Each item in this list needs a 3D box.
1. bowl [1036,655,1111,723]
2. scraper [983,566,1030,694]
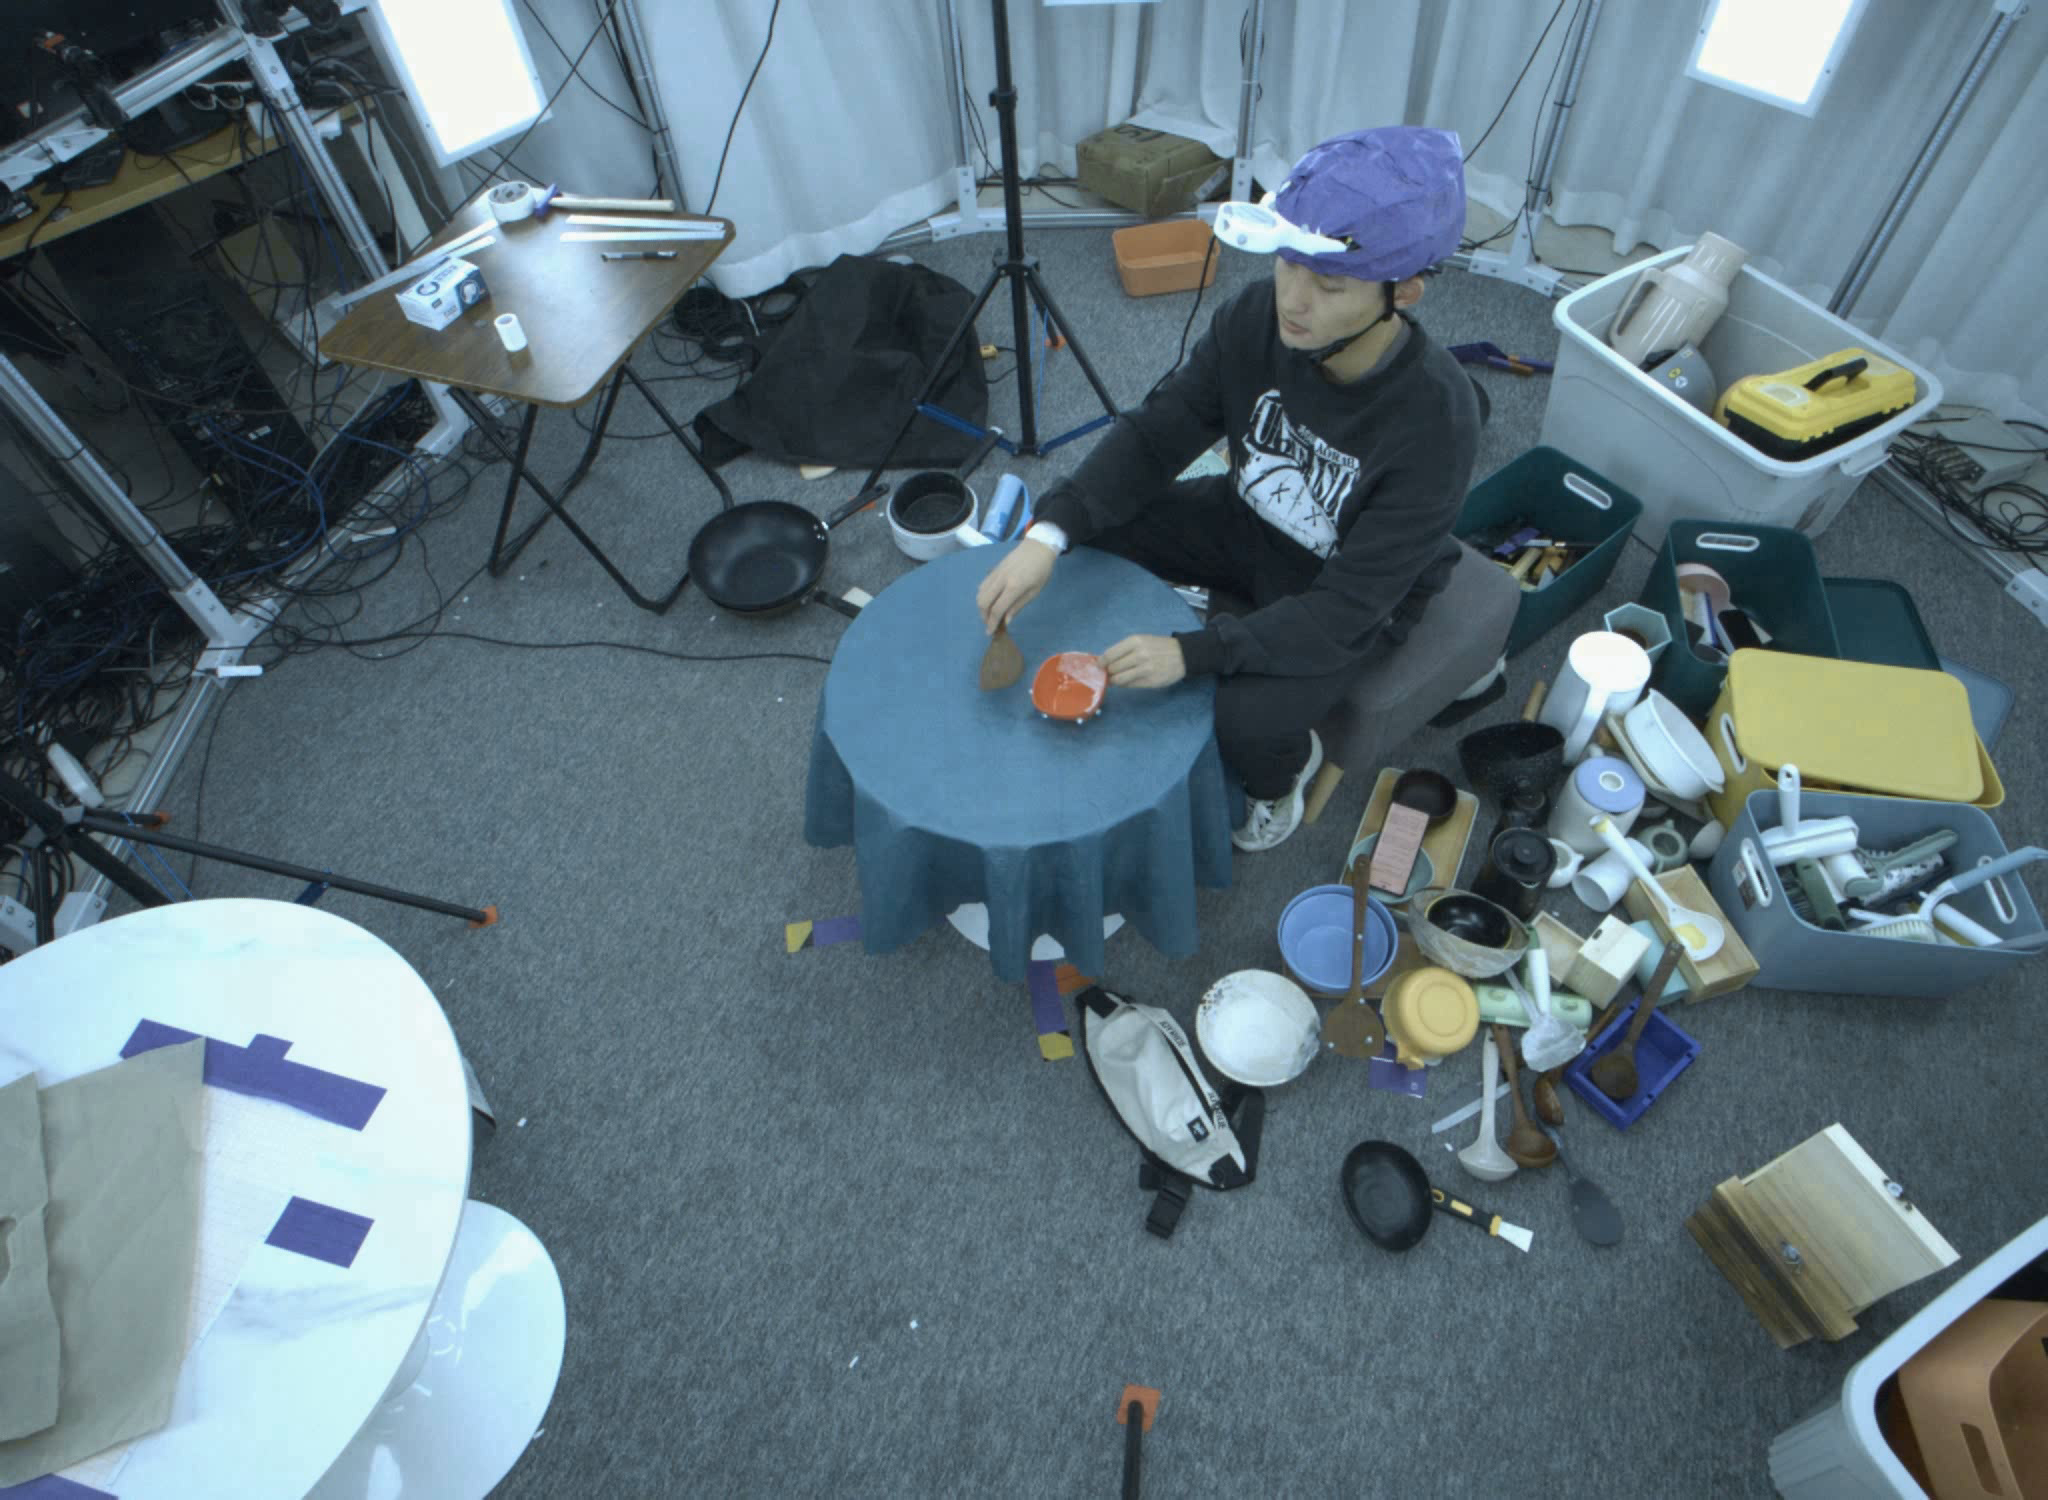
[{"bbox_3d":[0.078,-0.082,1.815,0.118,0.052,0.118,-8,58,15],"label":"bowl"},{"bbox_3d":[-0.030,-0.181,1.826,0.075,0.011,0.209,-13,67,21],"label":"scraper"}]
